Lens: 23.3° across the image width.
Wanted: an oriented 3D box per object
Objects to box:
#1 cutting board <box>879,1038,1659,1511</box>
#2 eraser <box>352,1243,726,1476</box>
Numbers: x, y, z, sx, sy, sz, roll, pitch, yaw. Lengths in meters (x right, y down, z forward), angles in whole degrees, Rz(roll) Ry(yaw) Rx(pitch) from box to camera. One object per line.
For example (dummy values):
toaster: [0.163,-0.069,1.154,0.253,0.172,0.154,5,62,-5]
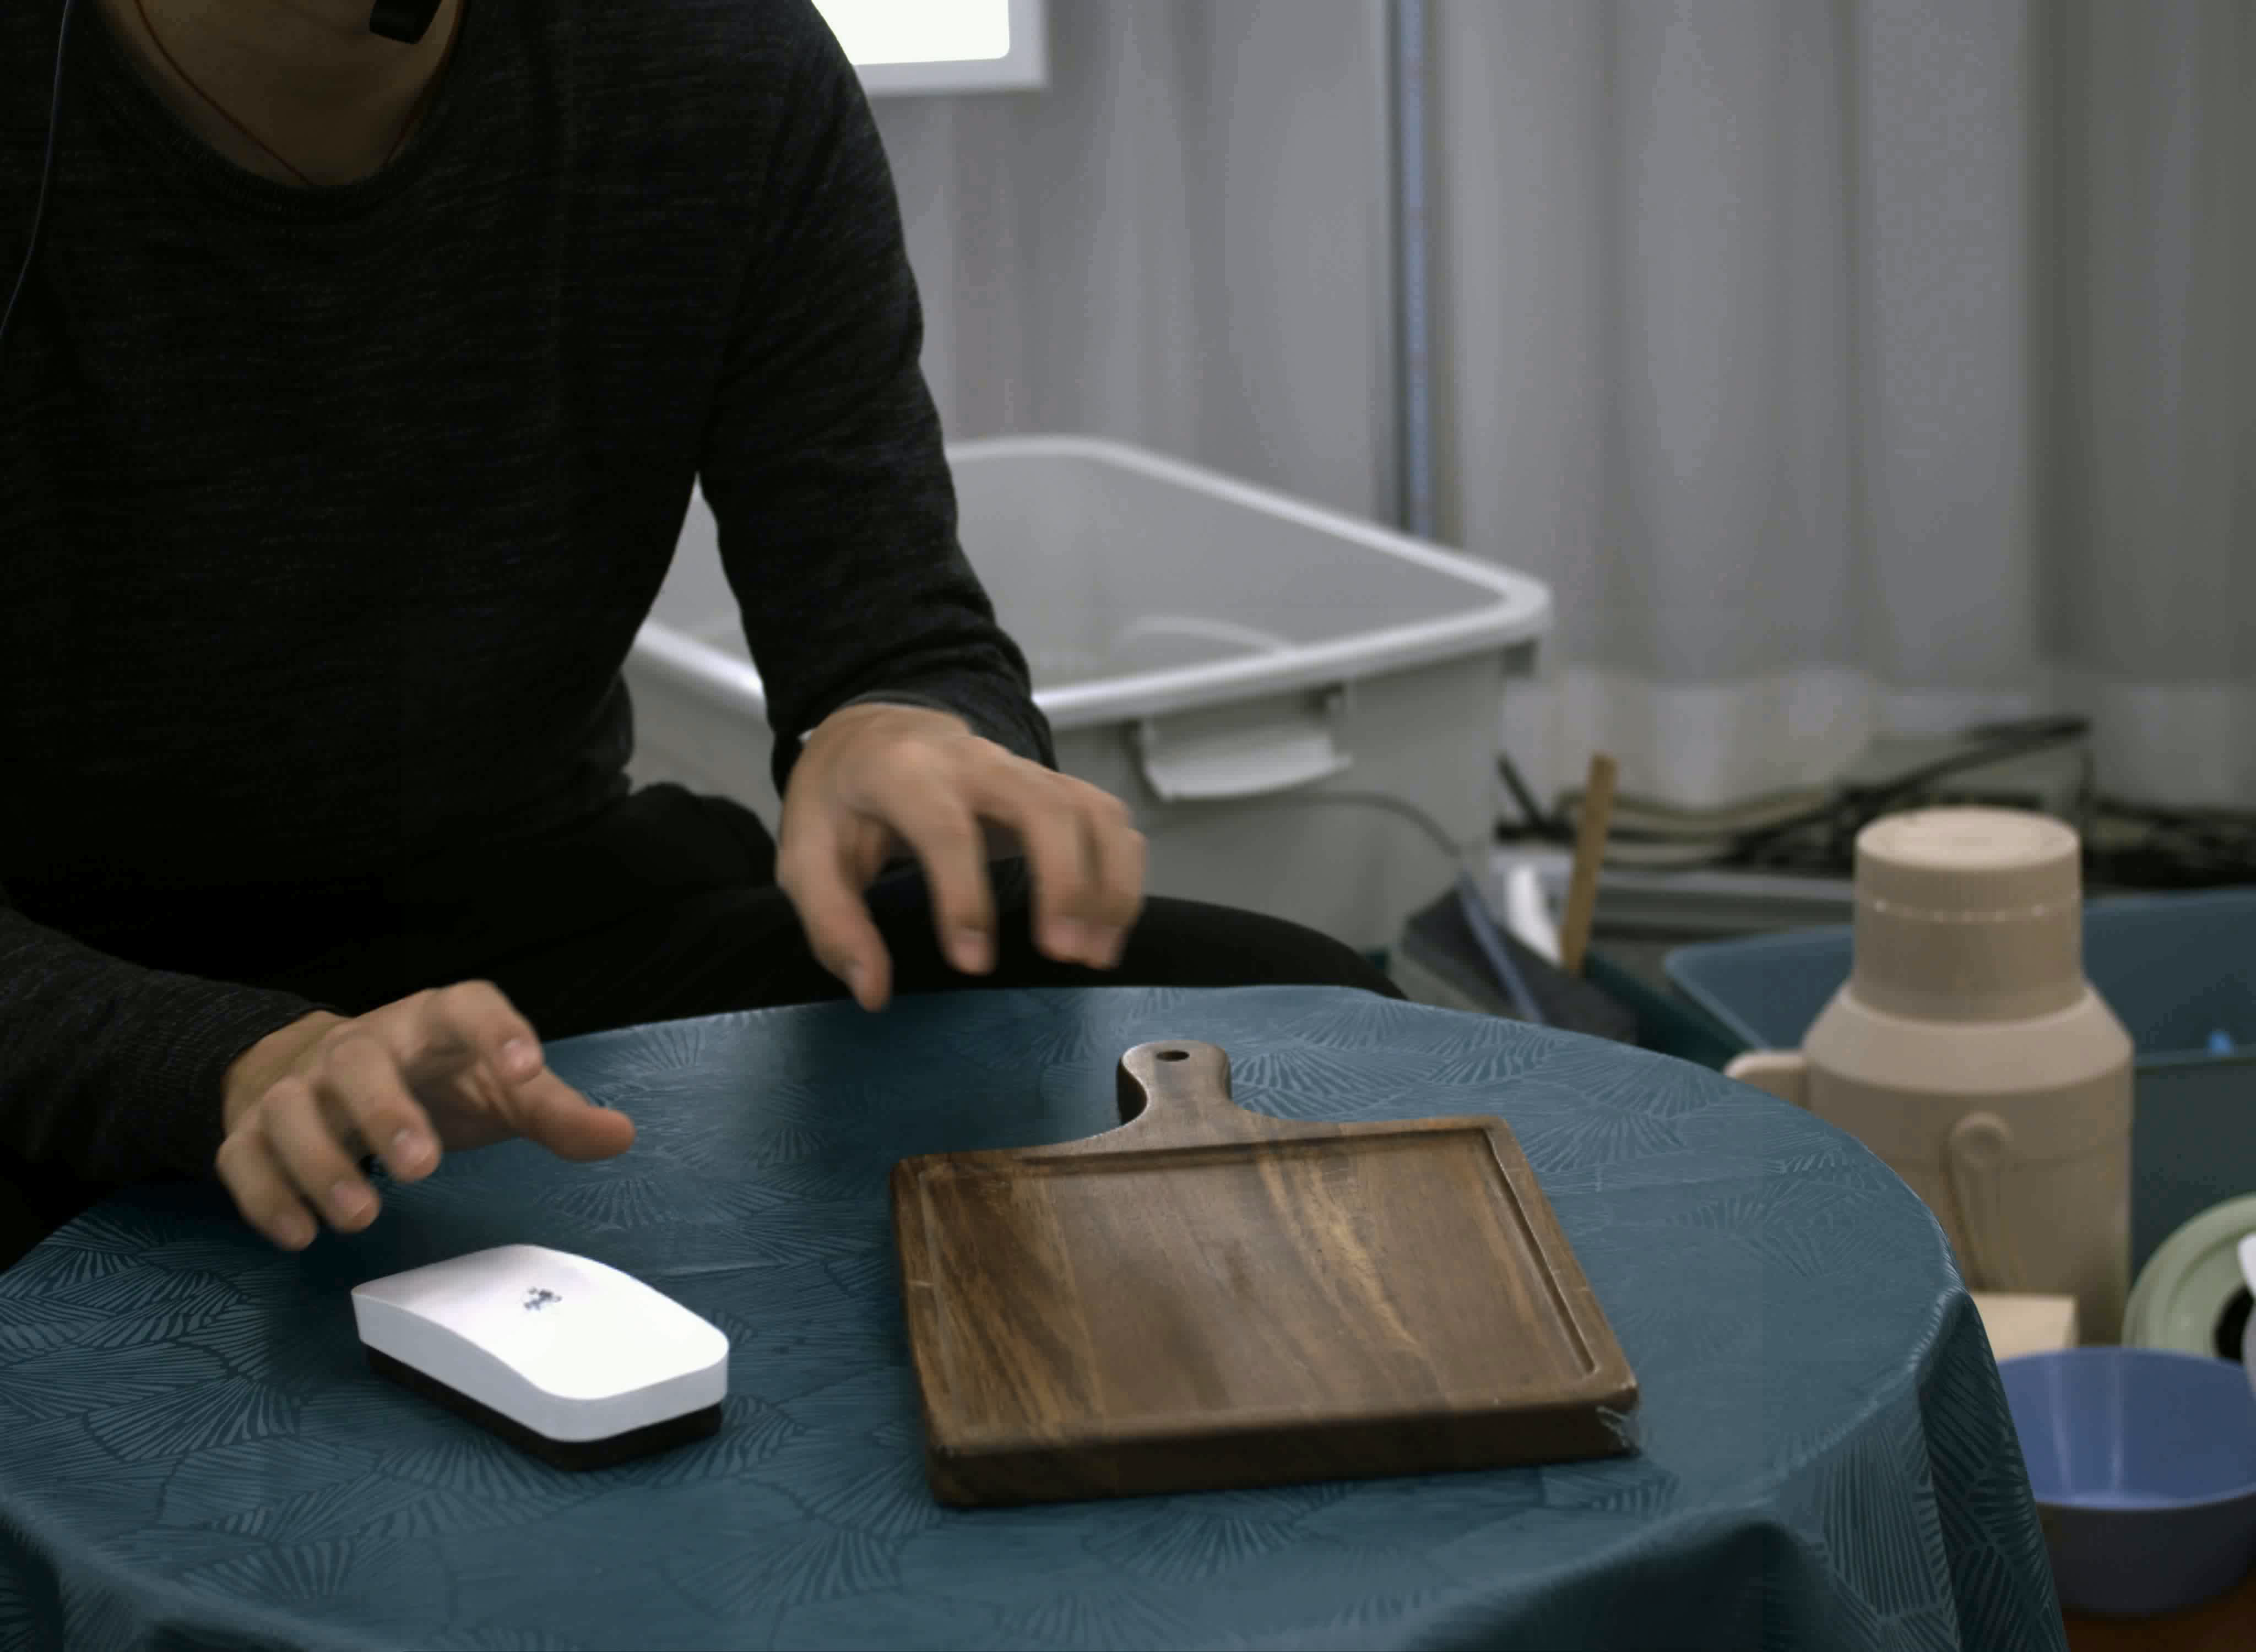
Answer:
cutting board: [0.029,0.124,1.633,0.200,0.023,0.355,-4,15,-5]
eraser: [-0.167,0.148,1.562,0.063,0.034,0.132,-14,19,-33]
